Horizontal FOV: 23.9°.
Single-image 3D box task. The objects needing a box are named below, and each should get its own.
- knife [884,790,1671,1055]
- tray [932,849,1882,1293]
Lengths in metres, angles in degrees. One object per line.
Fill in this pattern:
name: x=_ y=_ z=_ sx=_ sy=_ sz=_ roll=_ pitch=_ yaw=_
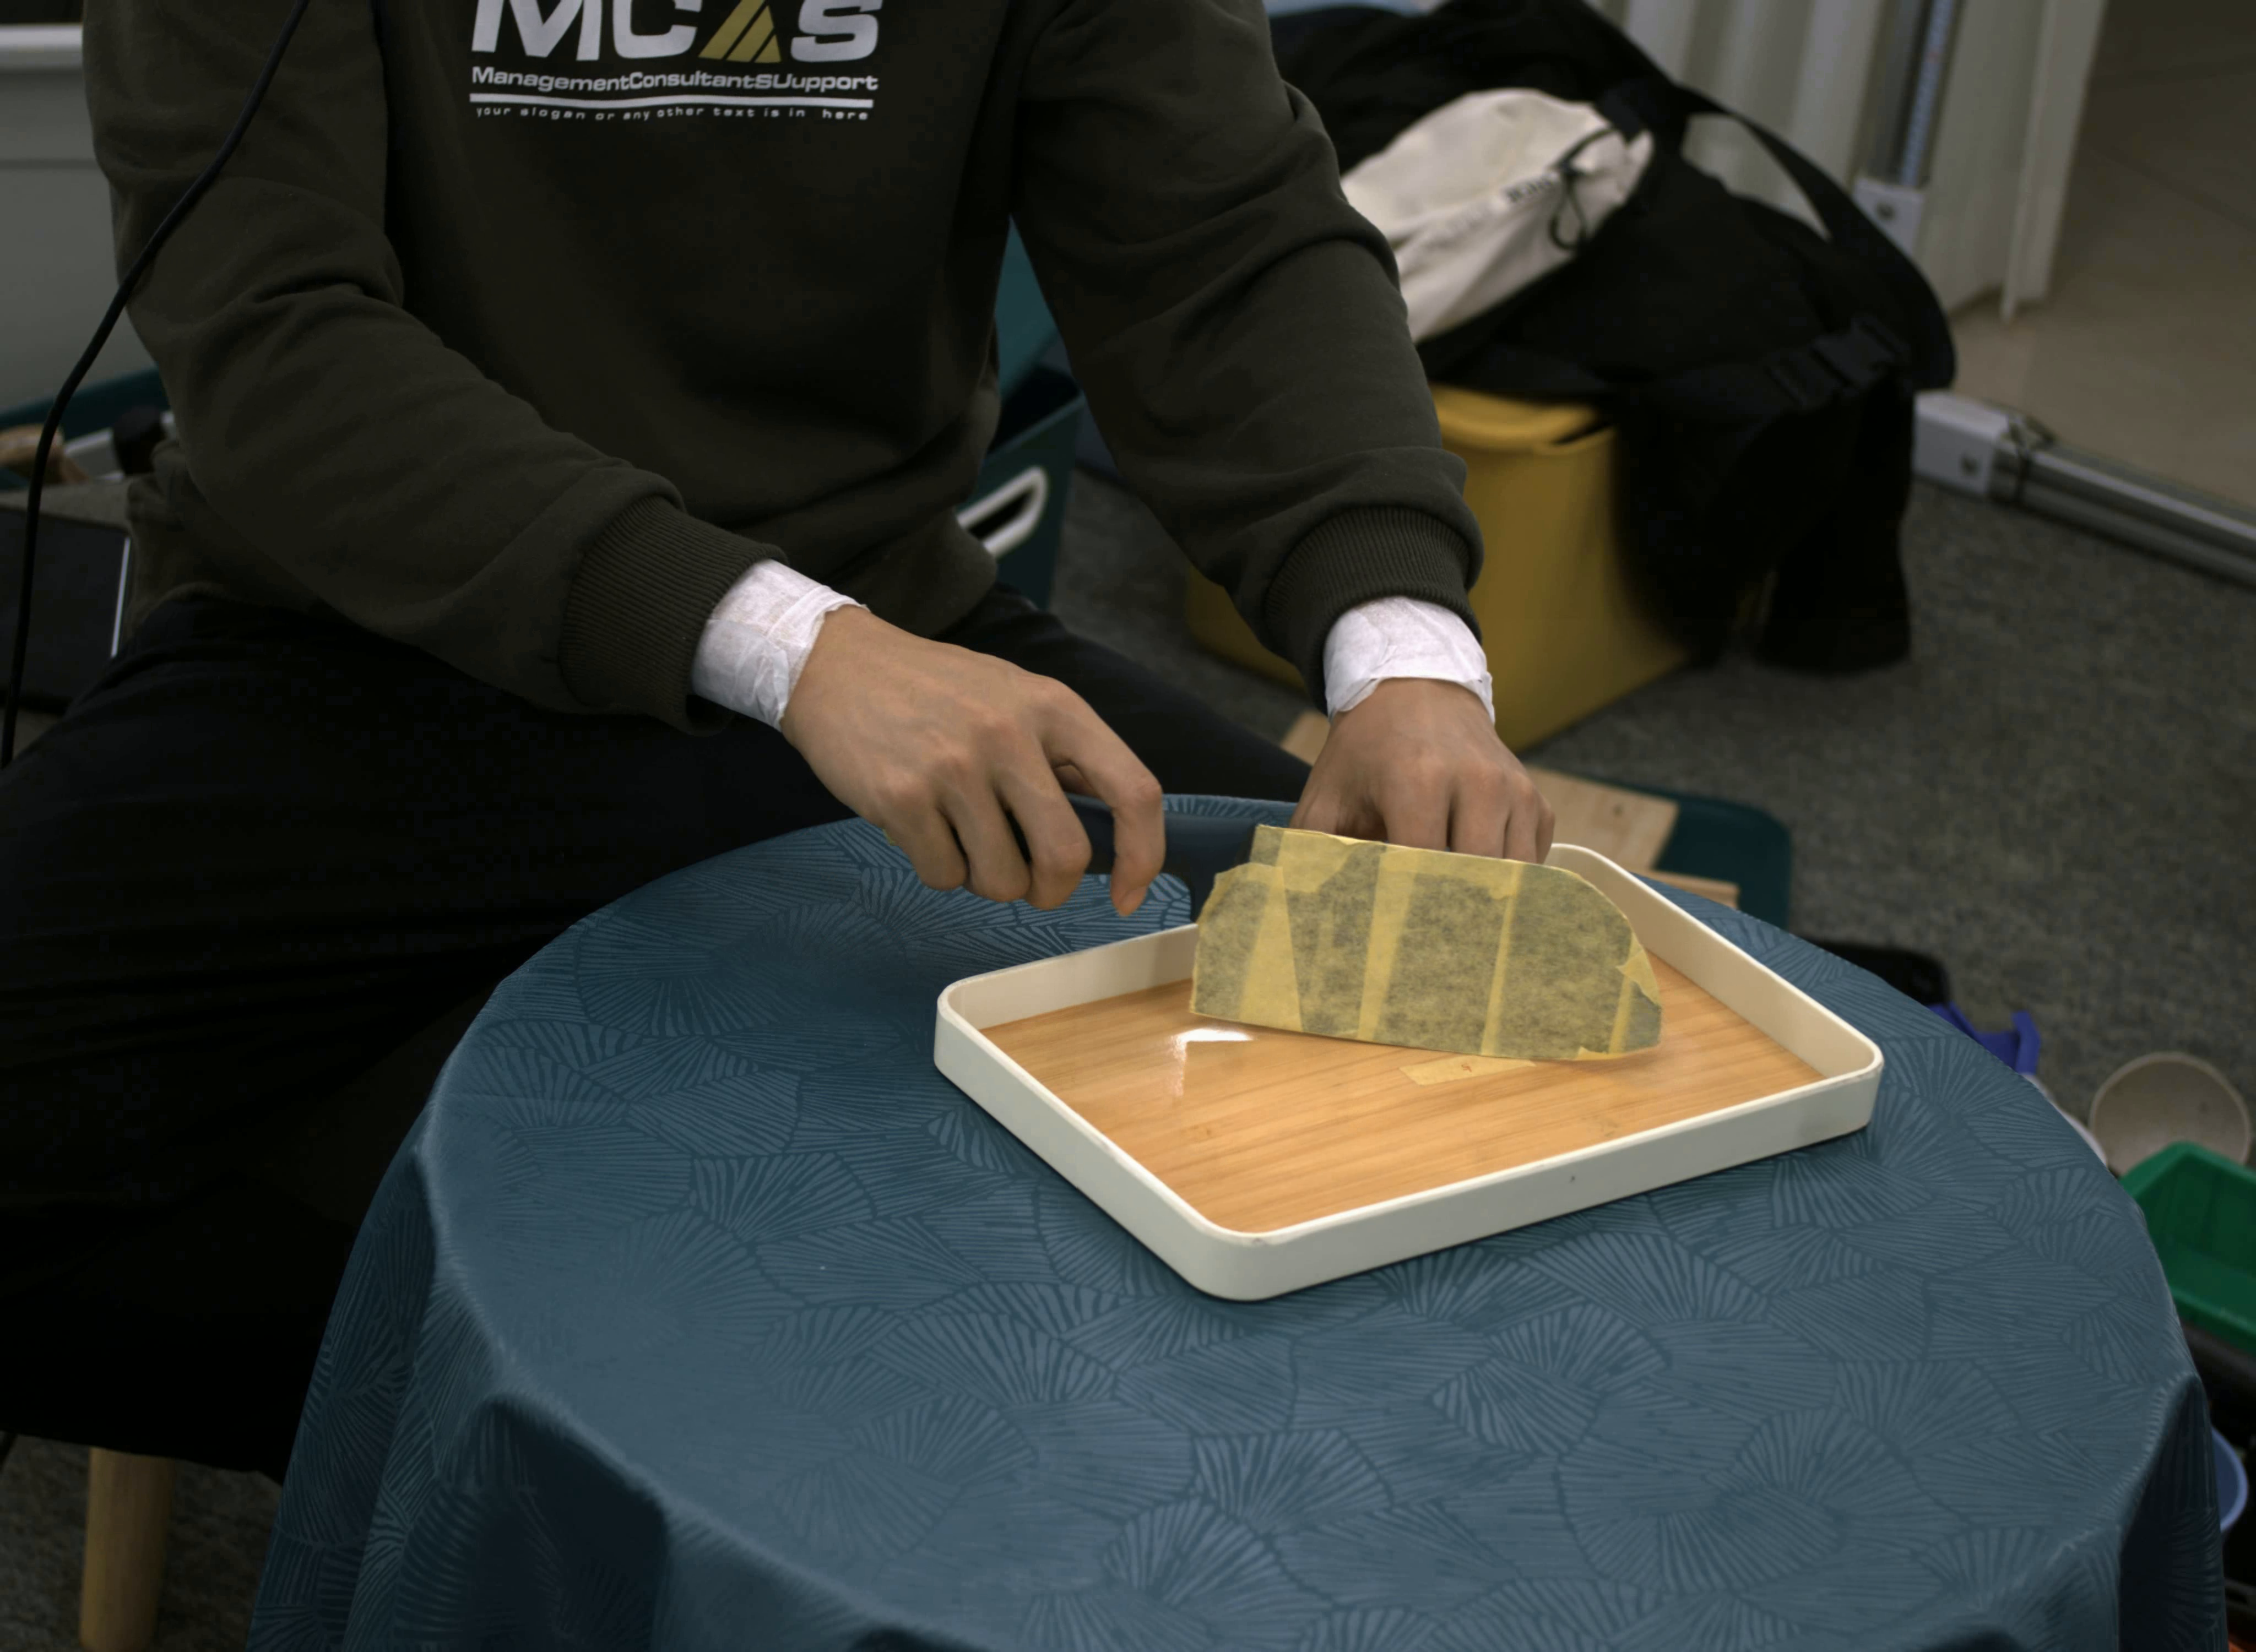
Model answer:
knife: x=0.053 y=0.034 z=1.896 sx=0.289 sy=0.081 sz=0.027 roll=11 pitch=7 yaw=1
tray: x=0.099 y=0.082 z=1.882 sx=0.298 sy=0.027 sz=0.193 roll=-12 pitch=31 yaw=-33
